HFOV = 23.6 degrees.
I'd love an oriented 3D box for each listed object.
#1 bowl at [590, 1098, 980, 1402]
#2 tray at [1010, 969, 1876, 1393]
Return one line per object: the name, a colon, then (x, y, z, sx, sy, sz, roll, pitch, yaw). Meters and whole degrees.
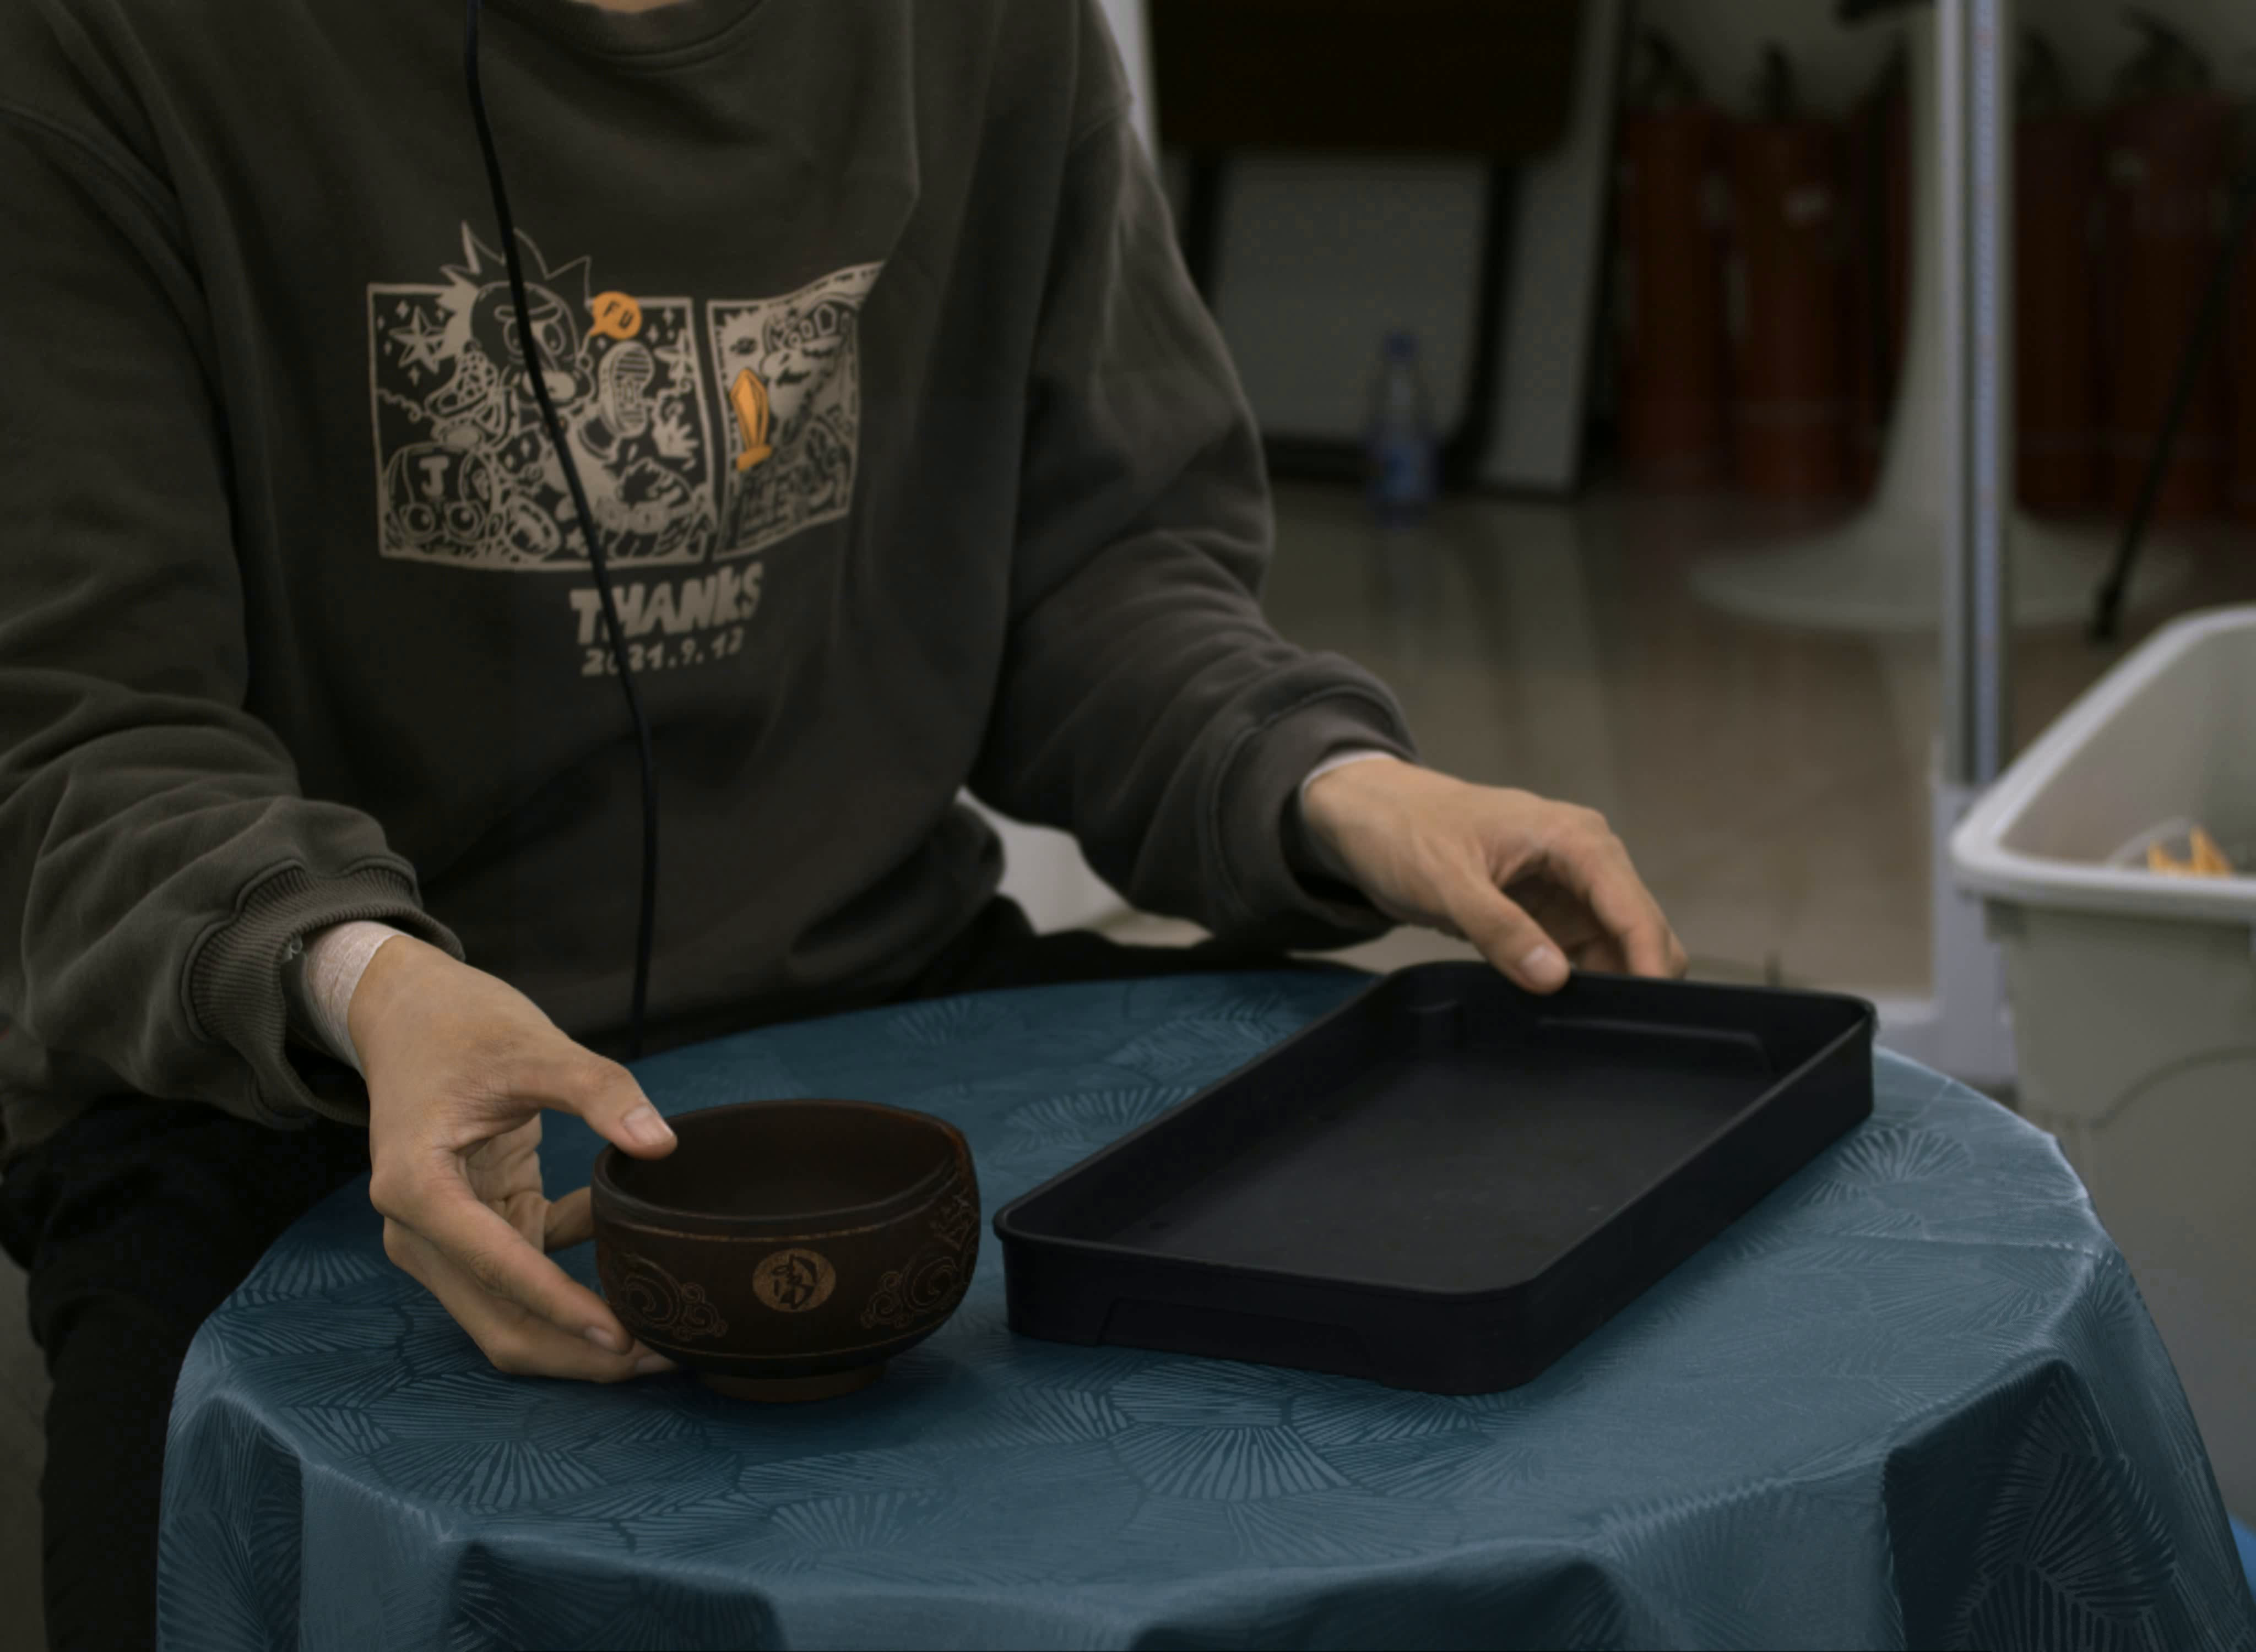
bowl: (-0.101, 0.130, 1.613, 0.116, 0.070, 0.118, -3, 12, 0)
tray: (0.109, 0.108, 1.728, 0.185, 0.037, 0.313, 2, 15, 28)
